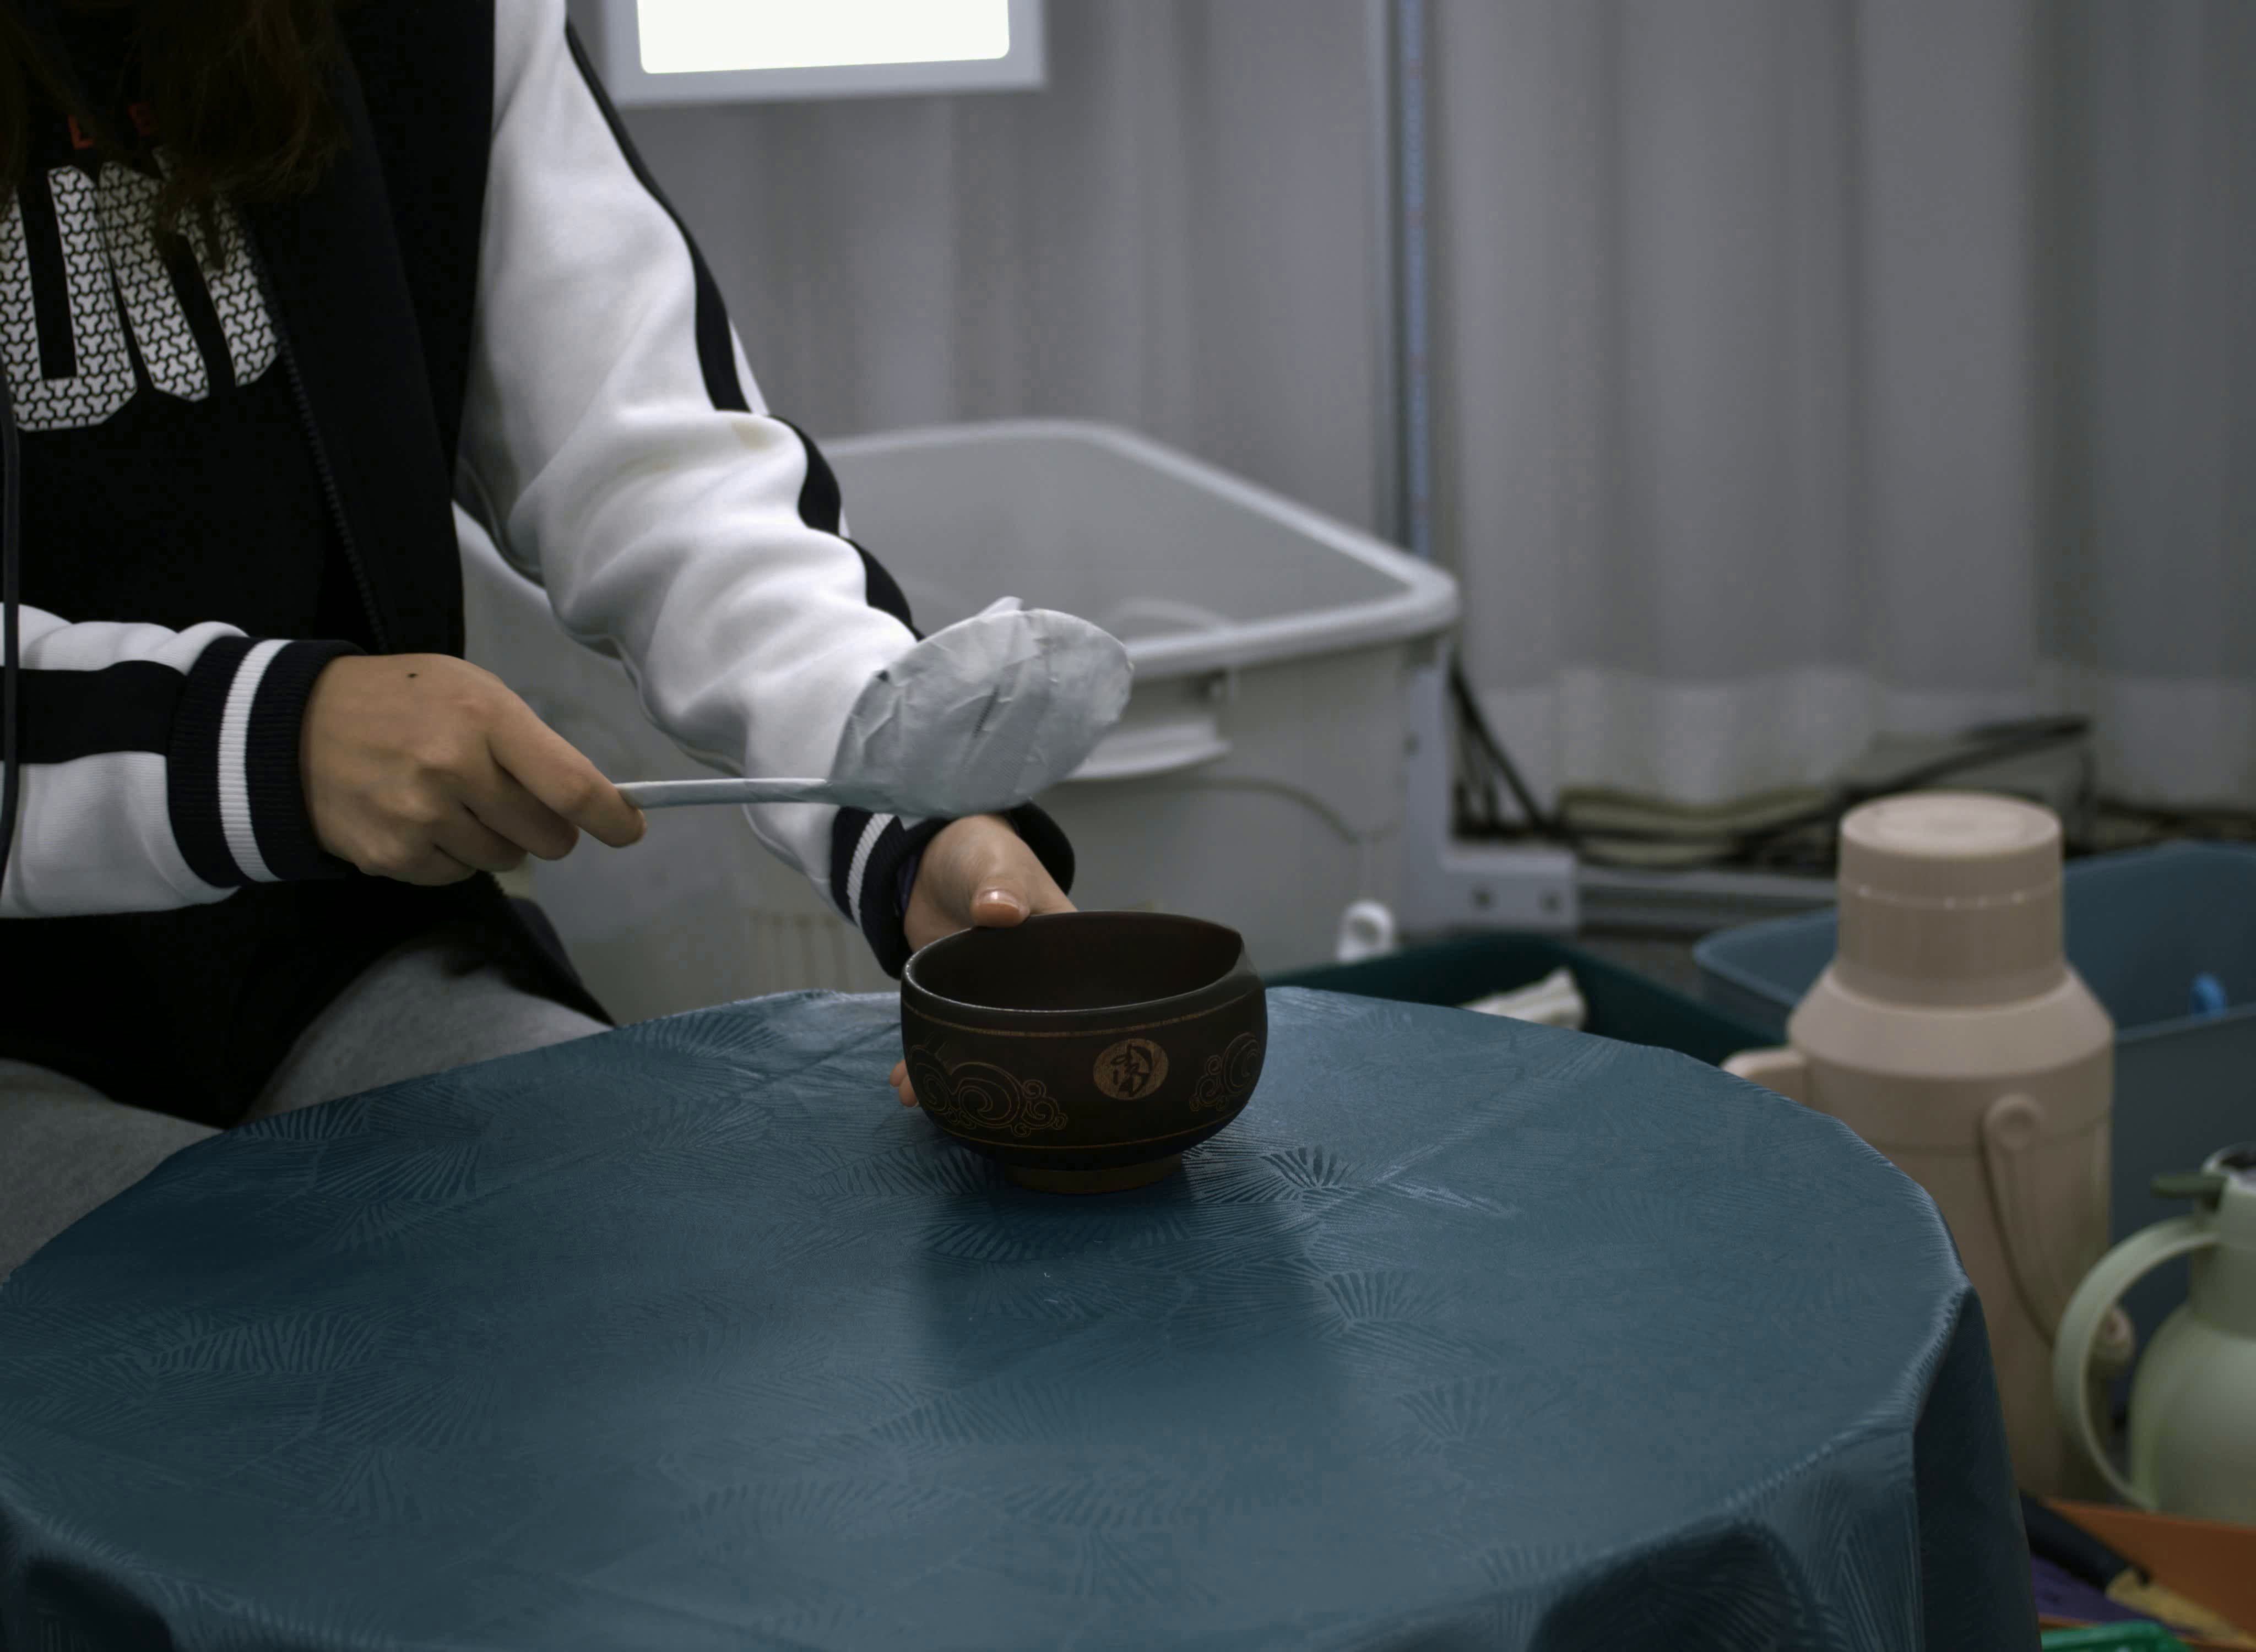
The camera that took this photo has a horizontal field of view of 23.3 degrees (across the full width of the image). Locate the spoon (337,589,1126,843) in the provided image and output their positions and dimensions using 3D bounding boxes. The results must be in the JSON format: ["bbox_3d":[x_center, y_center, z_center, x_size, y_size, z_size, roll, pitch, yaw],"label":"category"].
[{"bbox_3d":[-0.128,-0.028,1.717,0.277,0.060,0.099,-4,-33,31],"label":"spoon"}]

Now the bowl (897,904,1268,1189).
[{"bbox_3d":[-0.014,0.073,1.731,0.117,0.069,0.119,-3,14,0],"label":"bowl"}]
